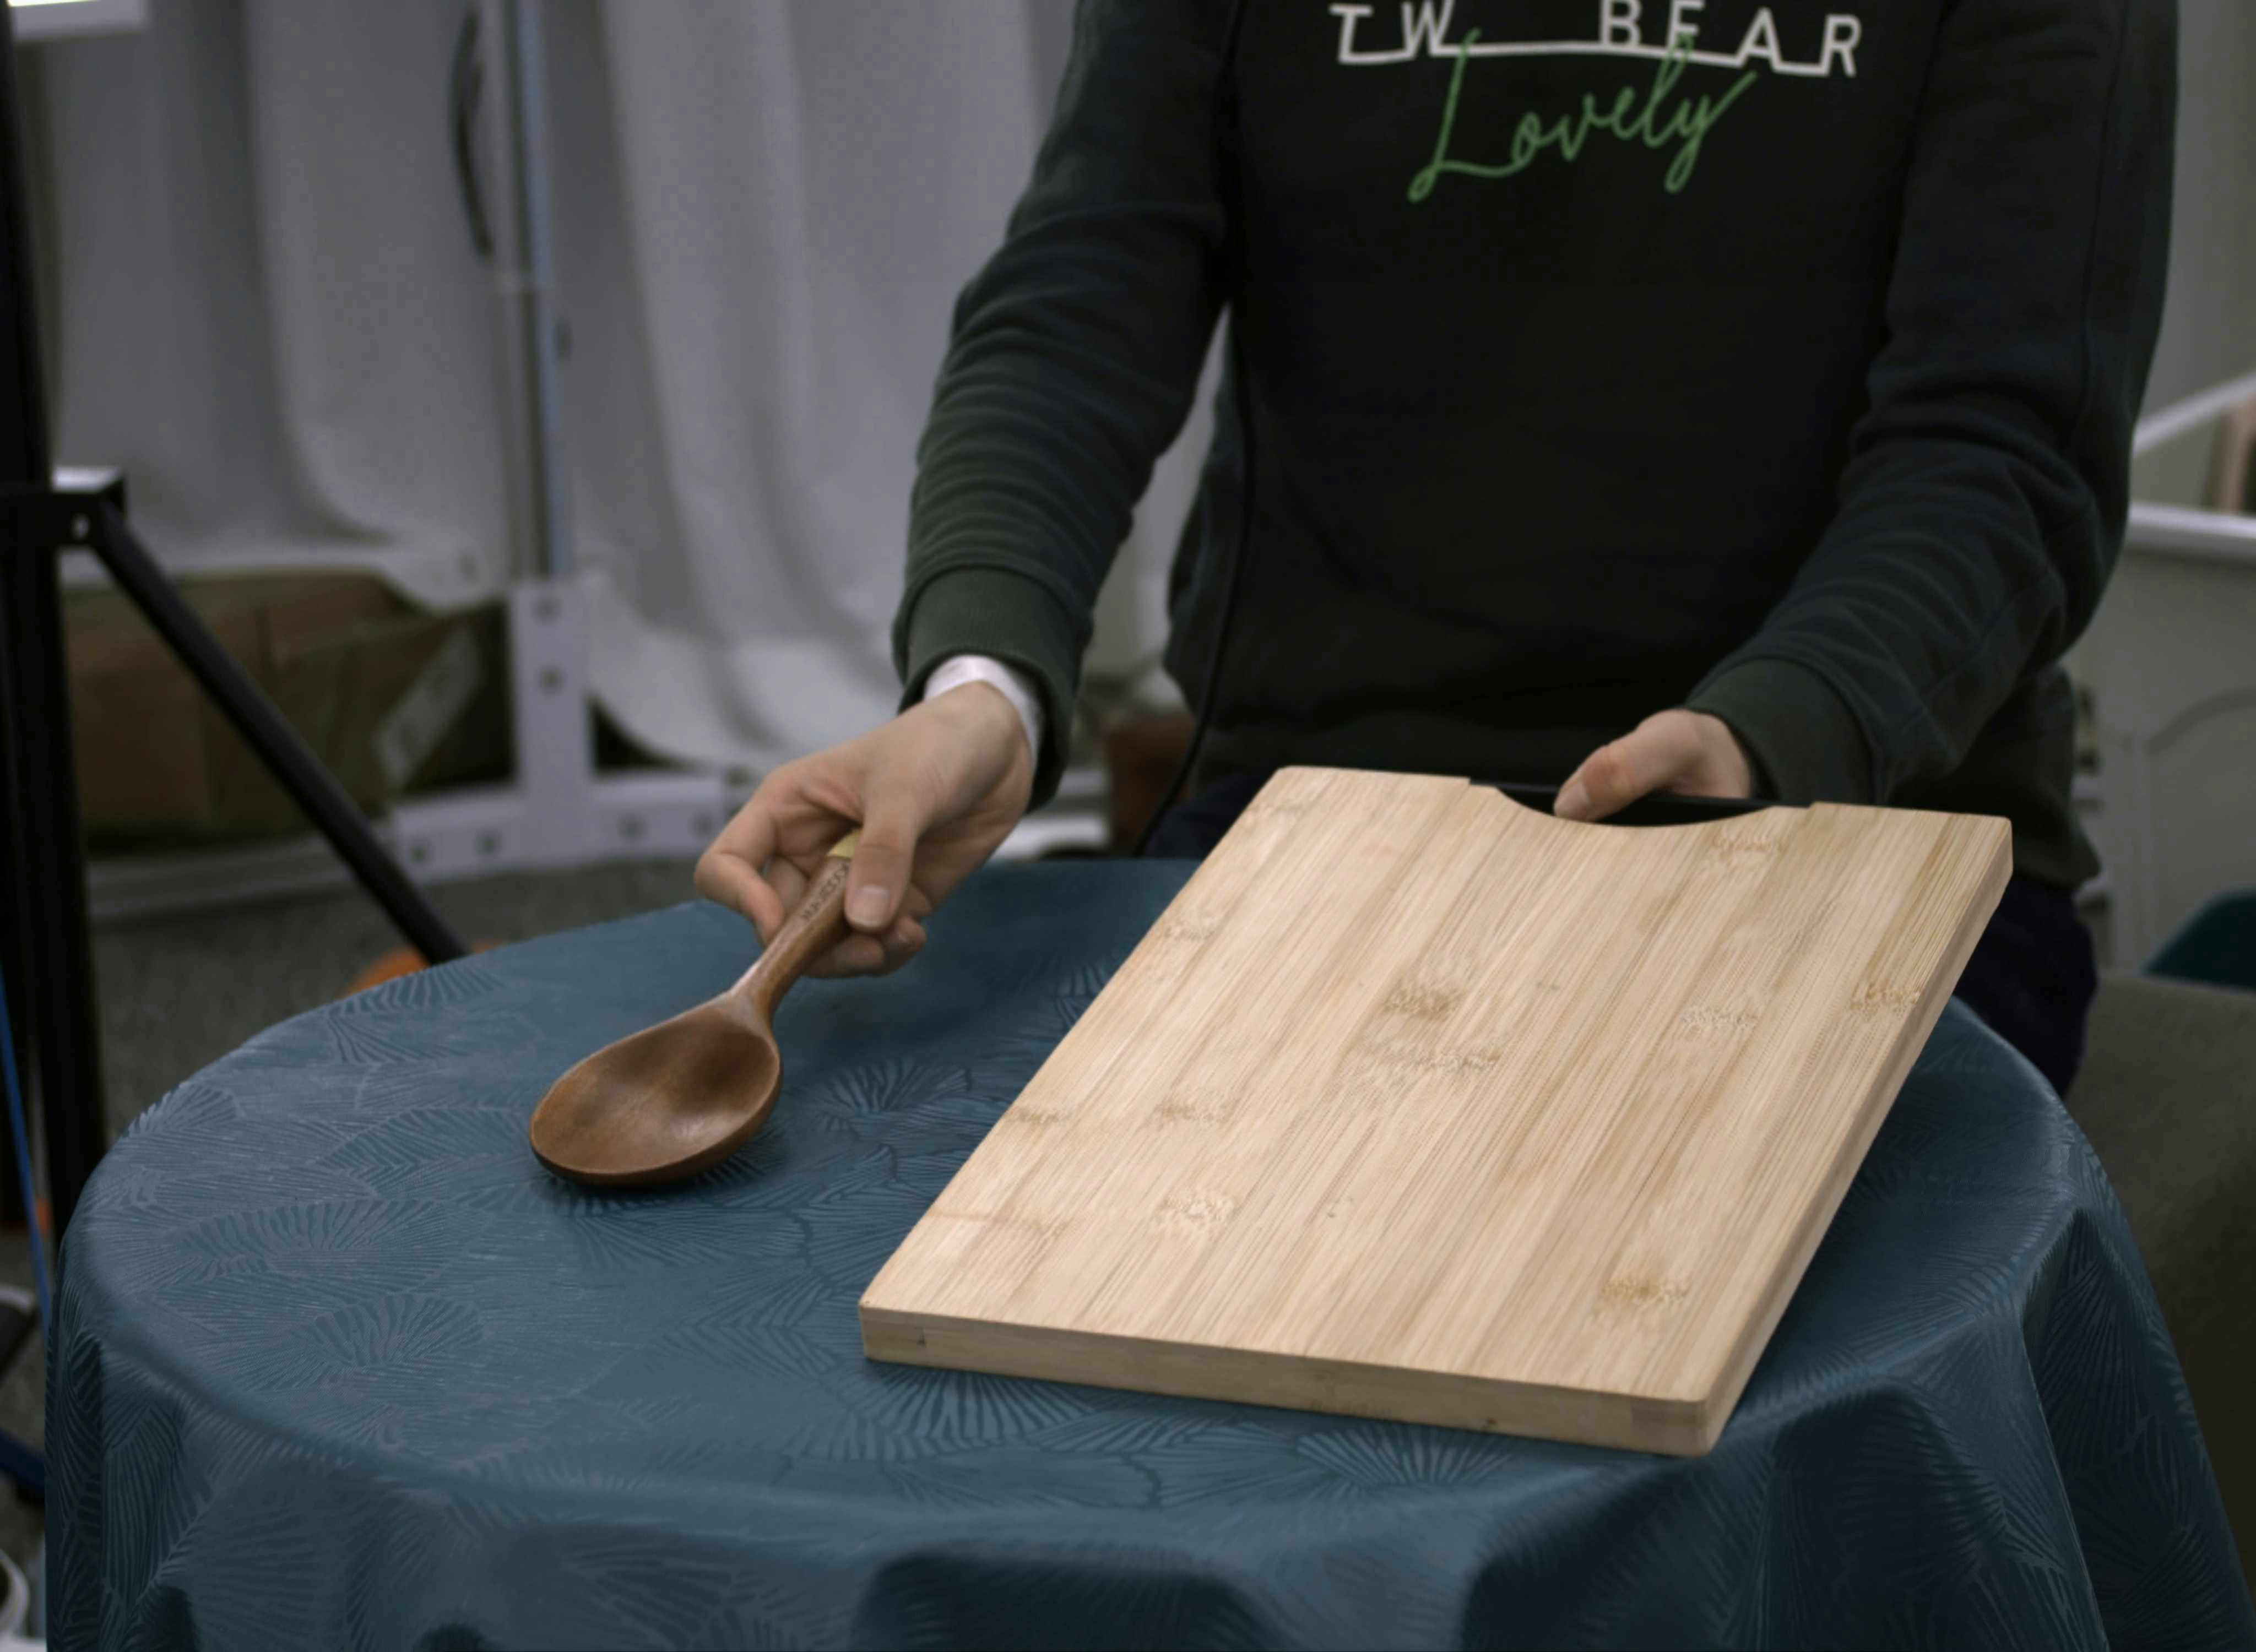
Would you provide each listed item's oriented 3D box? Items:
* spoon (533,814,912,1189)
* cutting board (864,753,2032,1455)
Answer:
[{"bbox_3d":[-0.117,0.056,1.659,0.076,0.017,0.214,0,30,25],"label":"spoon"},{"bbox_3d":[0.102,0.069,1.530,0.254,0.023,0.345,4,28,22],"label":"cutting board"}]
